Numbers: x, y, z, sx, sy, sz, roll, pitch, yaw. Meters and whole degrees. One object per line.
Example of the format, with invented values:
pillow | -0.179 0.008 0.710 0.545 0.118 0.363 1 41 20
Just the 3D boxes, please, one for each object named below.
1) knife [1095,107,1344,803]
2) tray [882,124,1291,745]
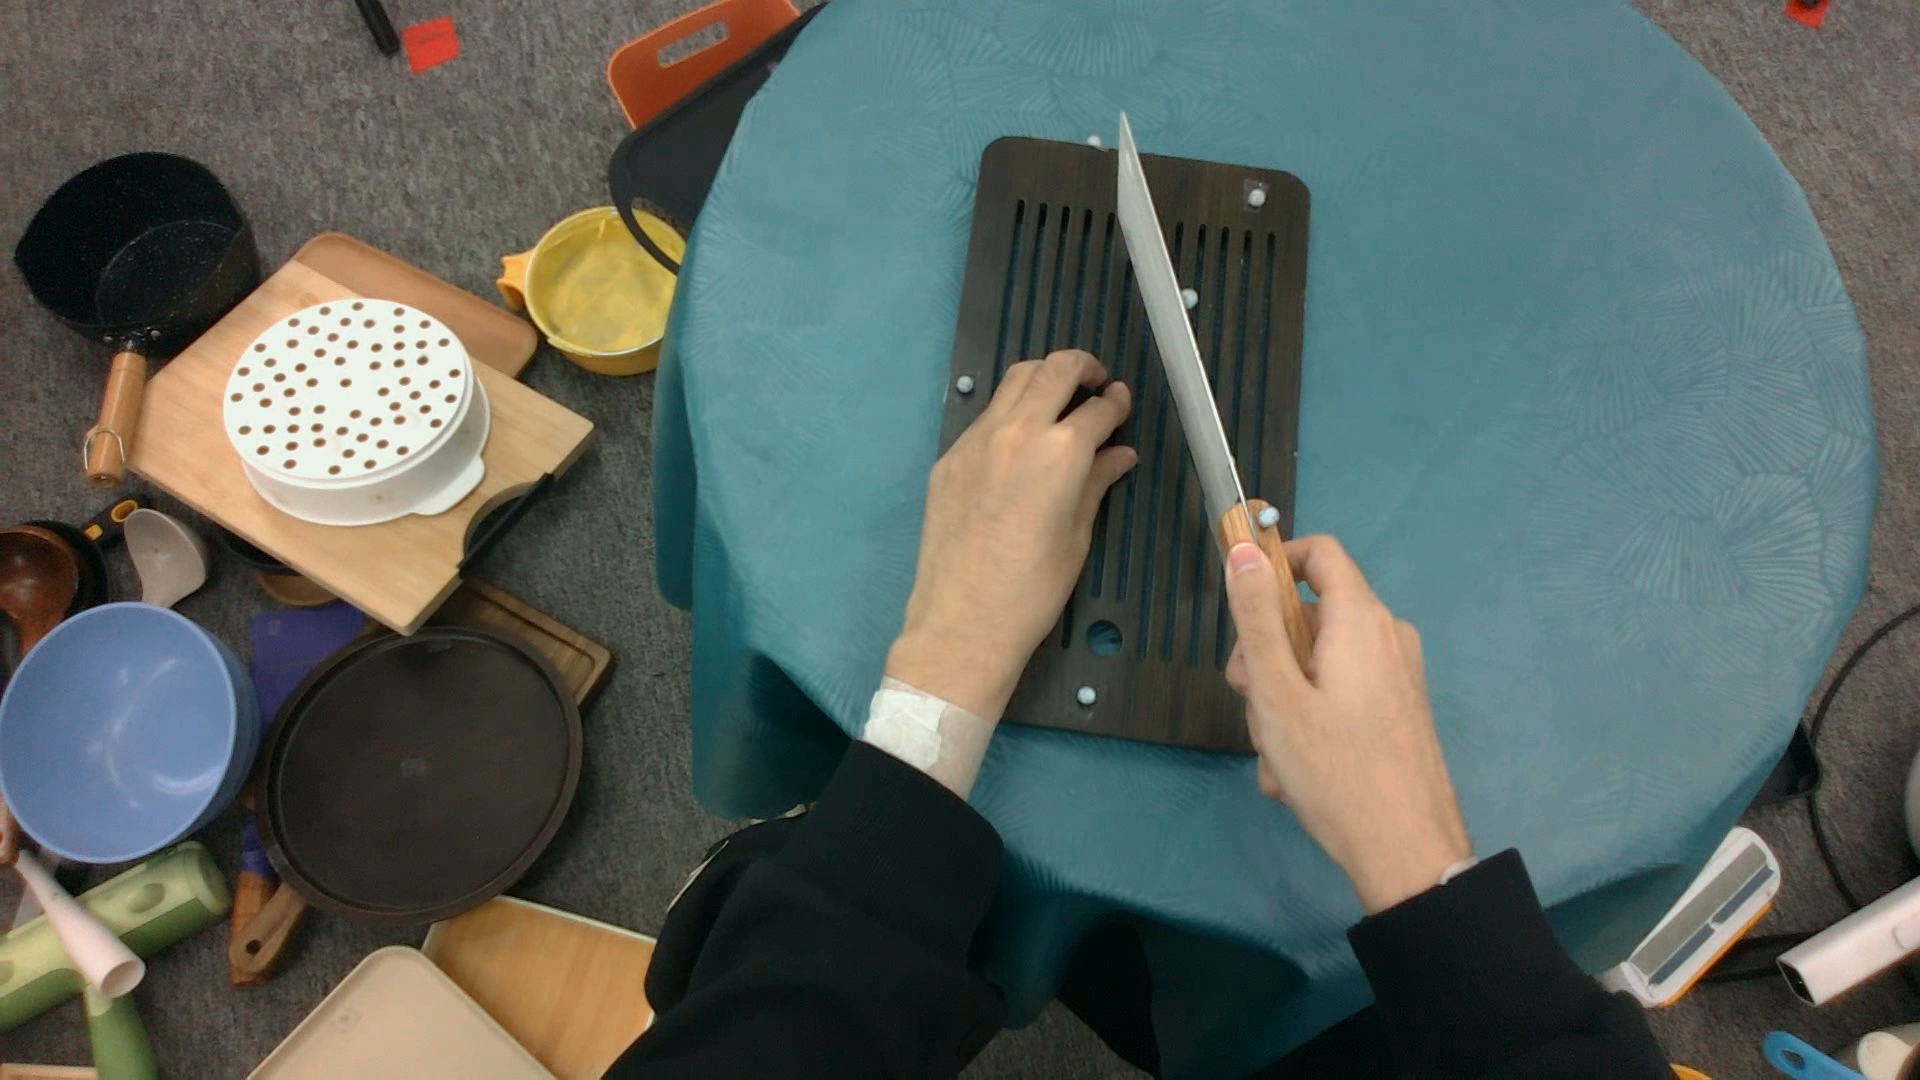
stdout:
knife | 0.100 -0.036 0.584 0.021 0.093 0.306 -15 73 1
tray | 0.067 -0.061 0.659 0.170 0.018 0.307 8 69 0
